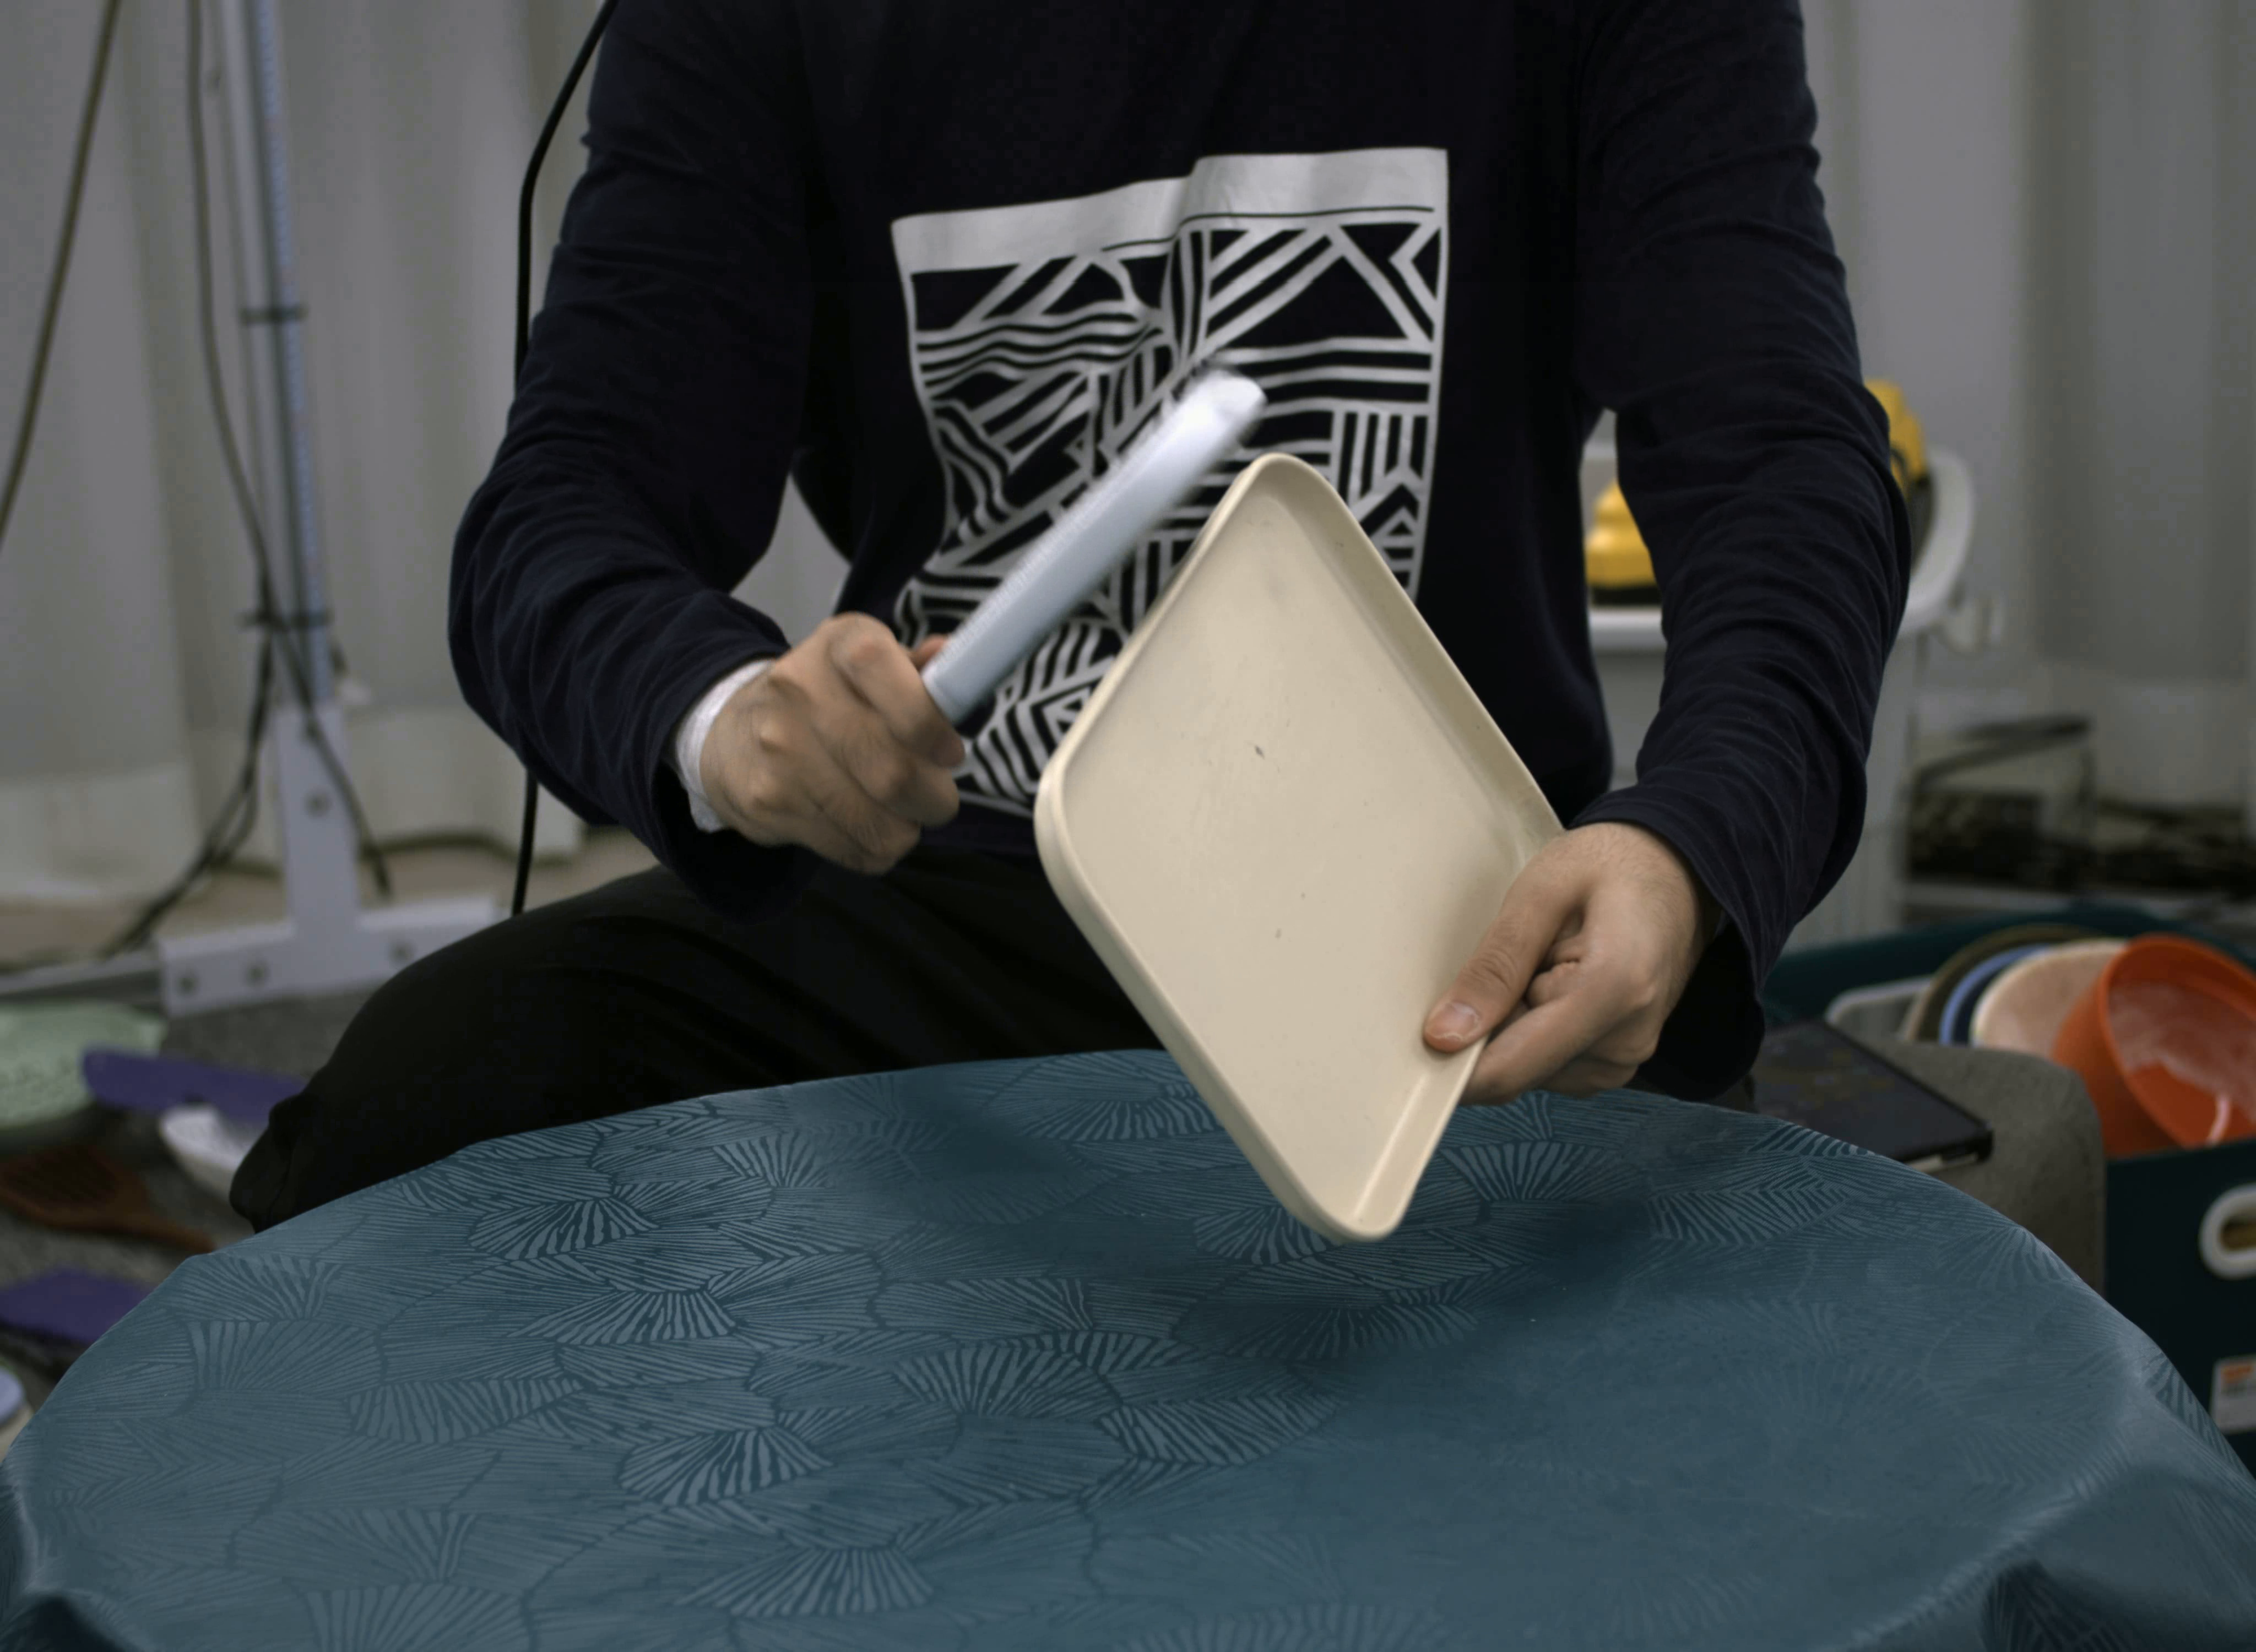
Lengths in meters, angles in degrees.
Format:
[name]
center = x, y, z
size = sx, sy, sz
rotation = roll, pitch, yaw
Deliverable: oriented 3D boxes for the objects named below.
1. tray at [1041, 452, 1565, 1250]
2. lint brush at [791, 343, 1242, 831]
[tray]
center = 0.053, 0.005, 1.599
size = 0.017, 0.170, 0.242
rotation = -27, 18, 32
[lint brush]
center = -0.040, -0.065, 1.659
size = 0.060, 0.021, 0.307
rotation = -56, 7, -33
